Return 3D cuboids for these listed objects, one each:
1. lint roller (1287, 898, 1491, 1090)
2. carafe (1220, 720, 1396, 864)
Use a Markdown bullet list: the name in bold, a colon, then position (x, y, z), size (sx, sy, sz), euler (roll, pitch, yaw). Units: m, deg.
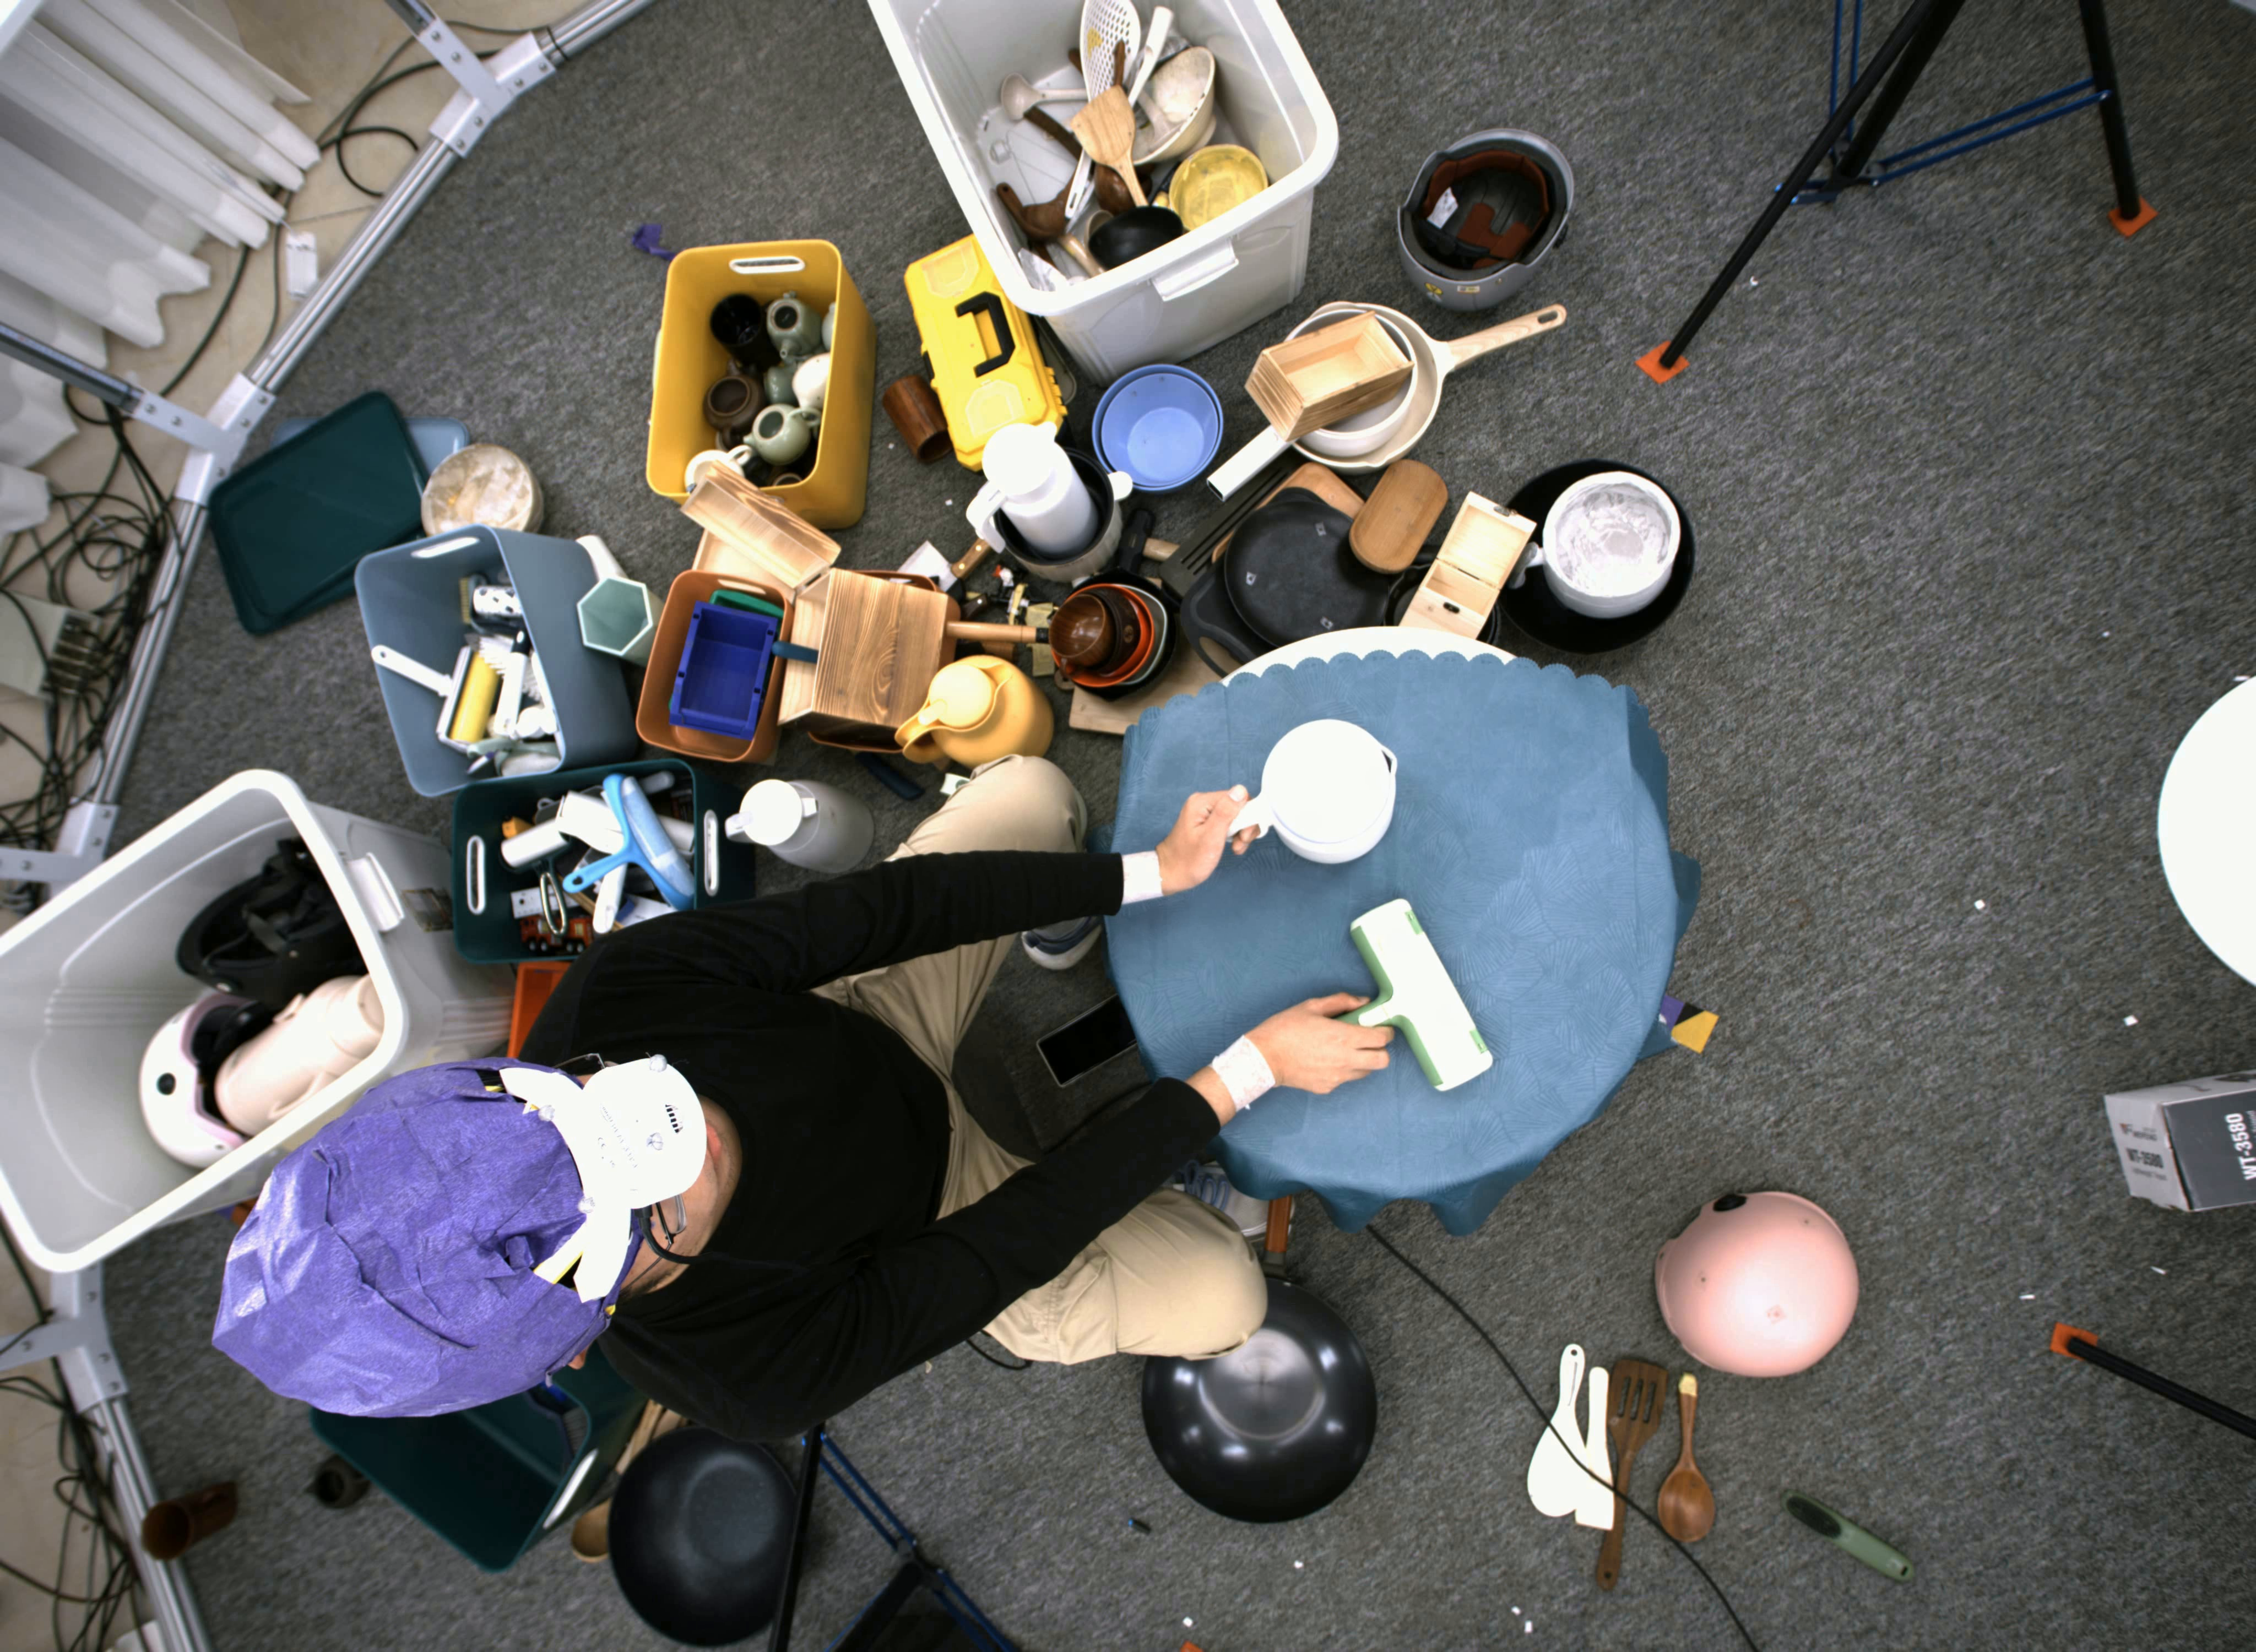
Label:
- **lint roller**: position (0.248, 0.195, 1.413), size (0.183, 0.083, 0.197), euler (-26, 81, -3)
- **carafe**: position (0.181, -0.025, 1.395), size (0.192, 0.182, 0.131), euler (-22, 81, 10)
